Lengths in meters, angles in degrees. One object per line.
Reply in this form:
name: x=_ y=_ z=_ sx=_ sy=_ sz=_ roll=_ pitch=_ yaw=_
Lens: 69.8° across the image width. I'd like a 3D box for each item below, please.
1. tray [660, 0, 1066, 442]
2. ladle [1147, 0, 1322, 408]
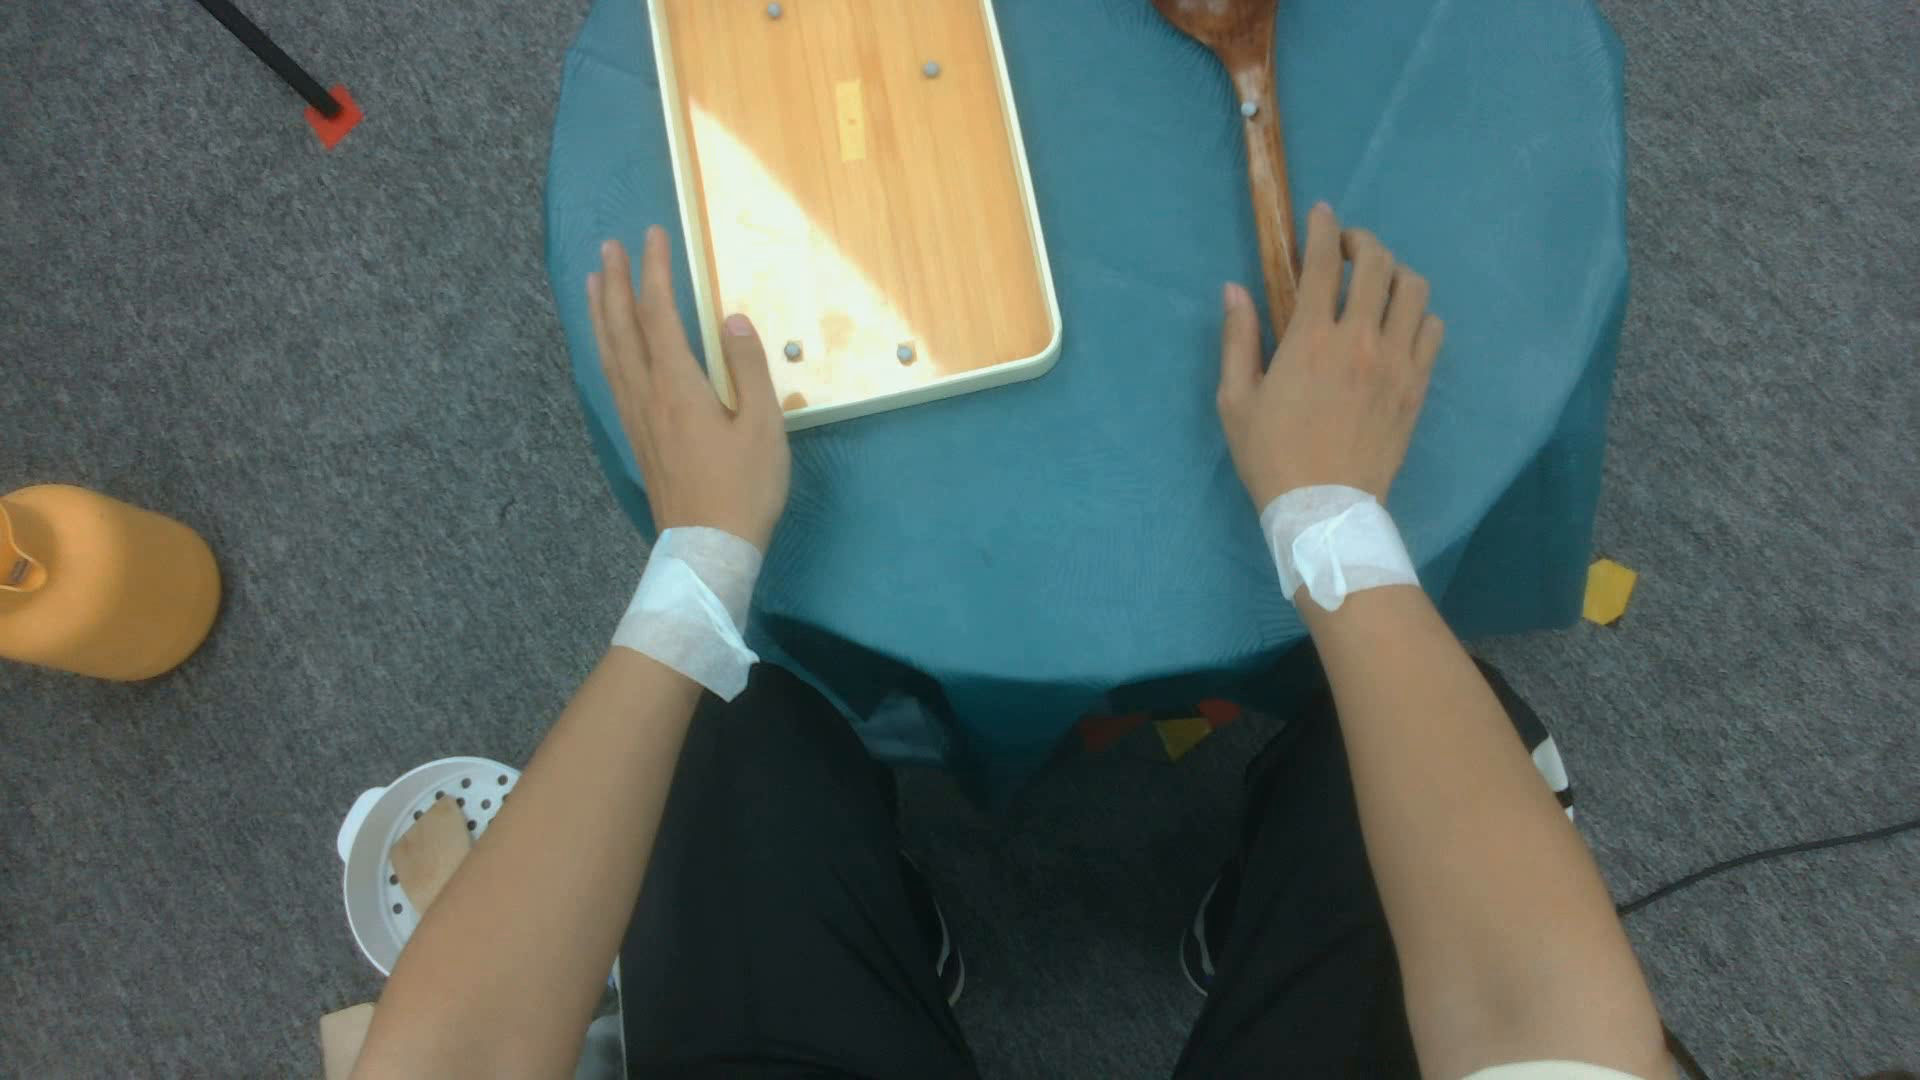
tray: x=-0.059 y=-0.214 z=0.783 sx=0.191 sy=0.027 sz=0.301 roll=-12 pitch=75 yaw=4
ladle: x=0.151 y=-0.209 z=0.737 sx=0.081 sy=0.077 sz=0.274 roll=-17 pitch=72 yaw=43
